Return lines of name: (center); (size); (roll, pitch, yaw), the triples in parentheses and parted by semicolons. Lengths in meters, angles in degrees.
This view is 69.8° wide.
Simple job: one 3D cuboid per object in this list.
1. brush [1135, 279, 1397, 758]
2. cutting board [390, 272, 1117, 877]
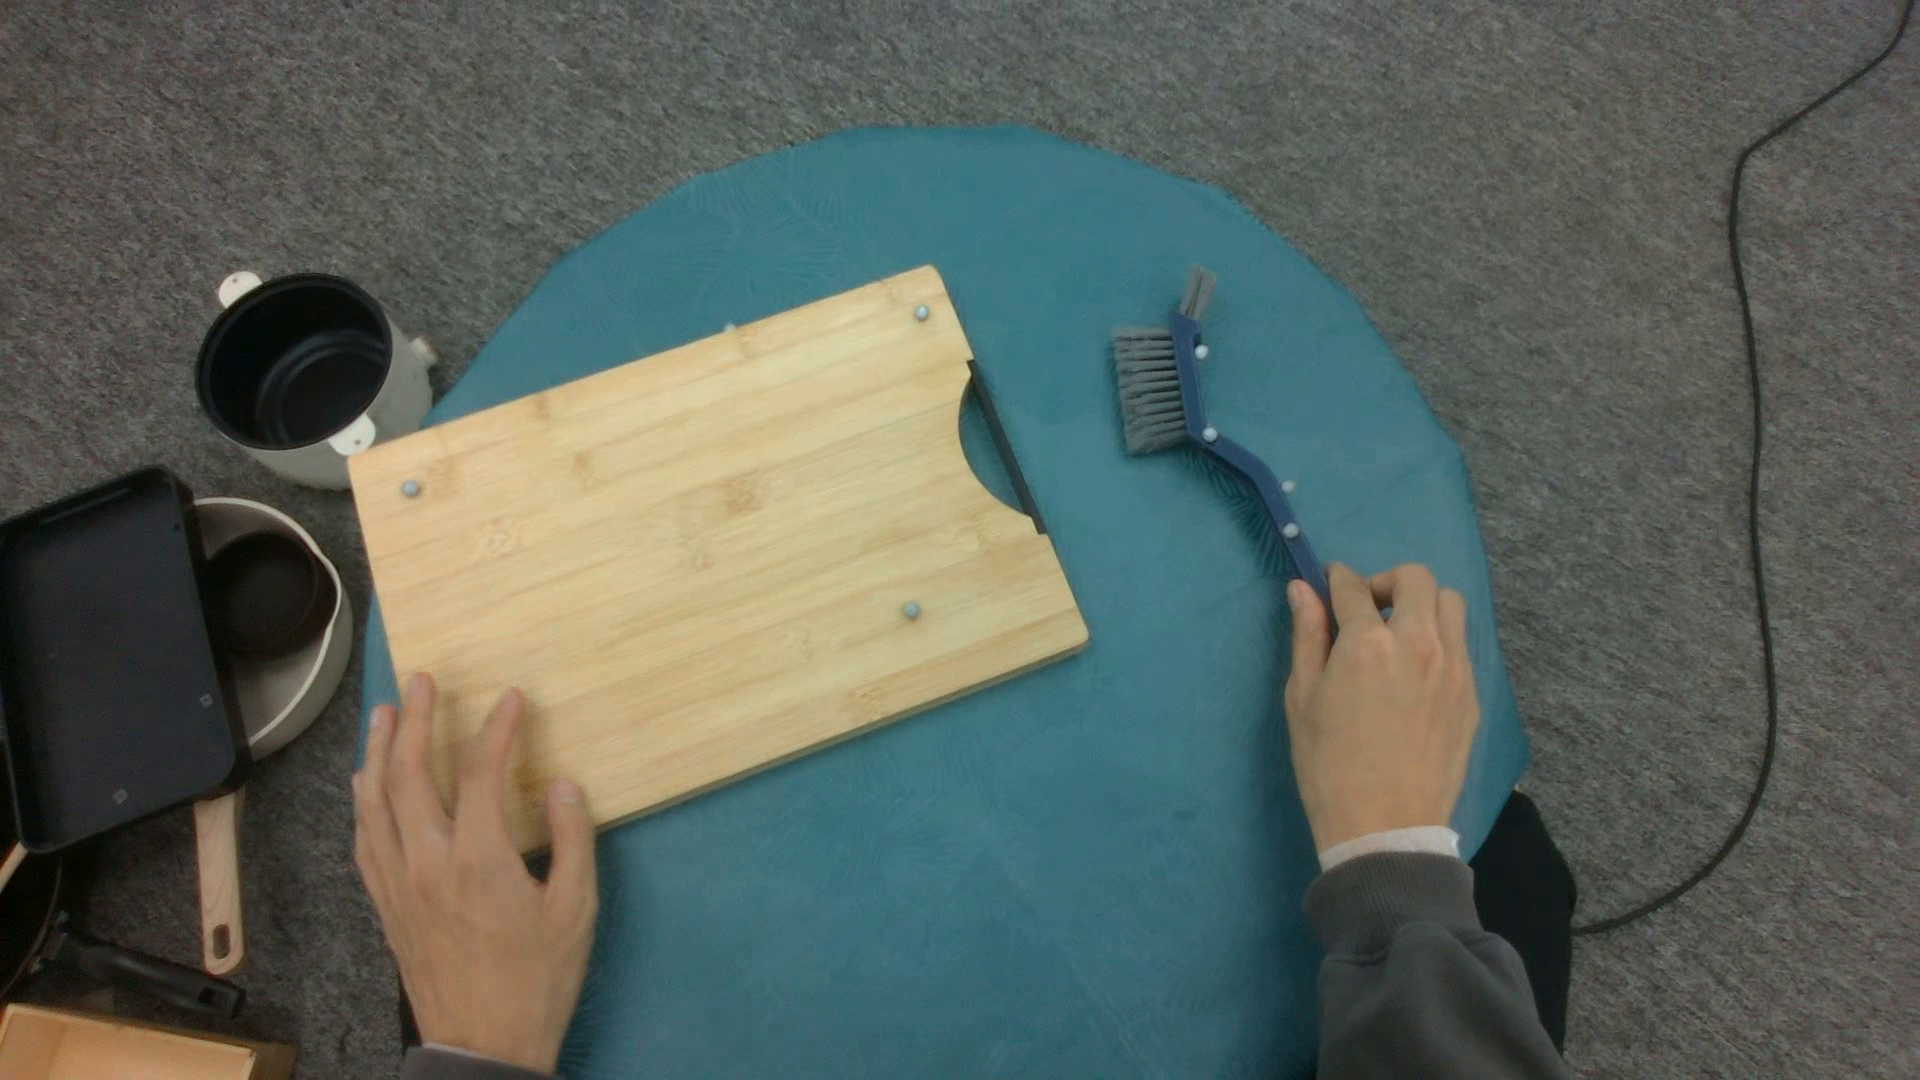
brush: (0.177, -0.016, 0.742); (0.096, 0.033, 0.273); (-30, 70, -2)
cutting board: (-0.121, 0.008, 0.753); (0.349, 0.023, 0.251); (-21, 71, -6)
